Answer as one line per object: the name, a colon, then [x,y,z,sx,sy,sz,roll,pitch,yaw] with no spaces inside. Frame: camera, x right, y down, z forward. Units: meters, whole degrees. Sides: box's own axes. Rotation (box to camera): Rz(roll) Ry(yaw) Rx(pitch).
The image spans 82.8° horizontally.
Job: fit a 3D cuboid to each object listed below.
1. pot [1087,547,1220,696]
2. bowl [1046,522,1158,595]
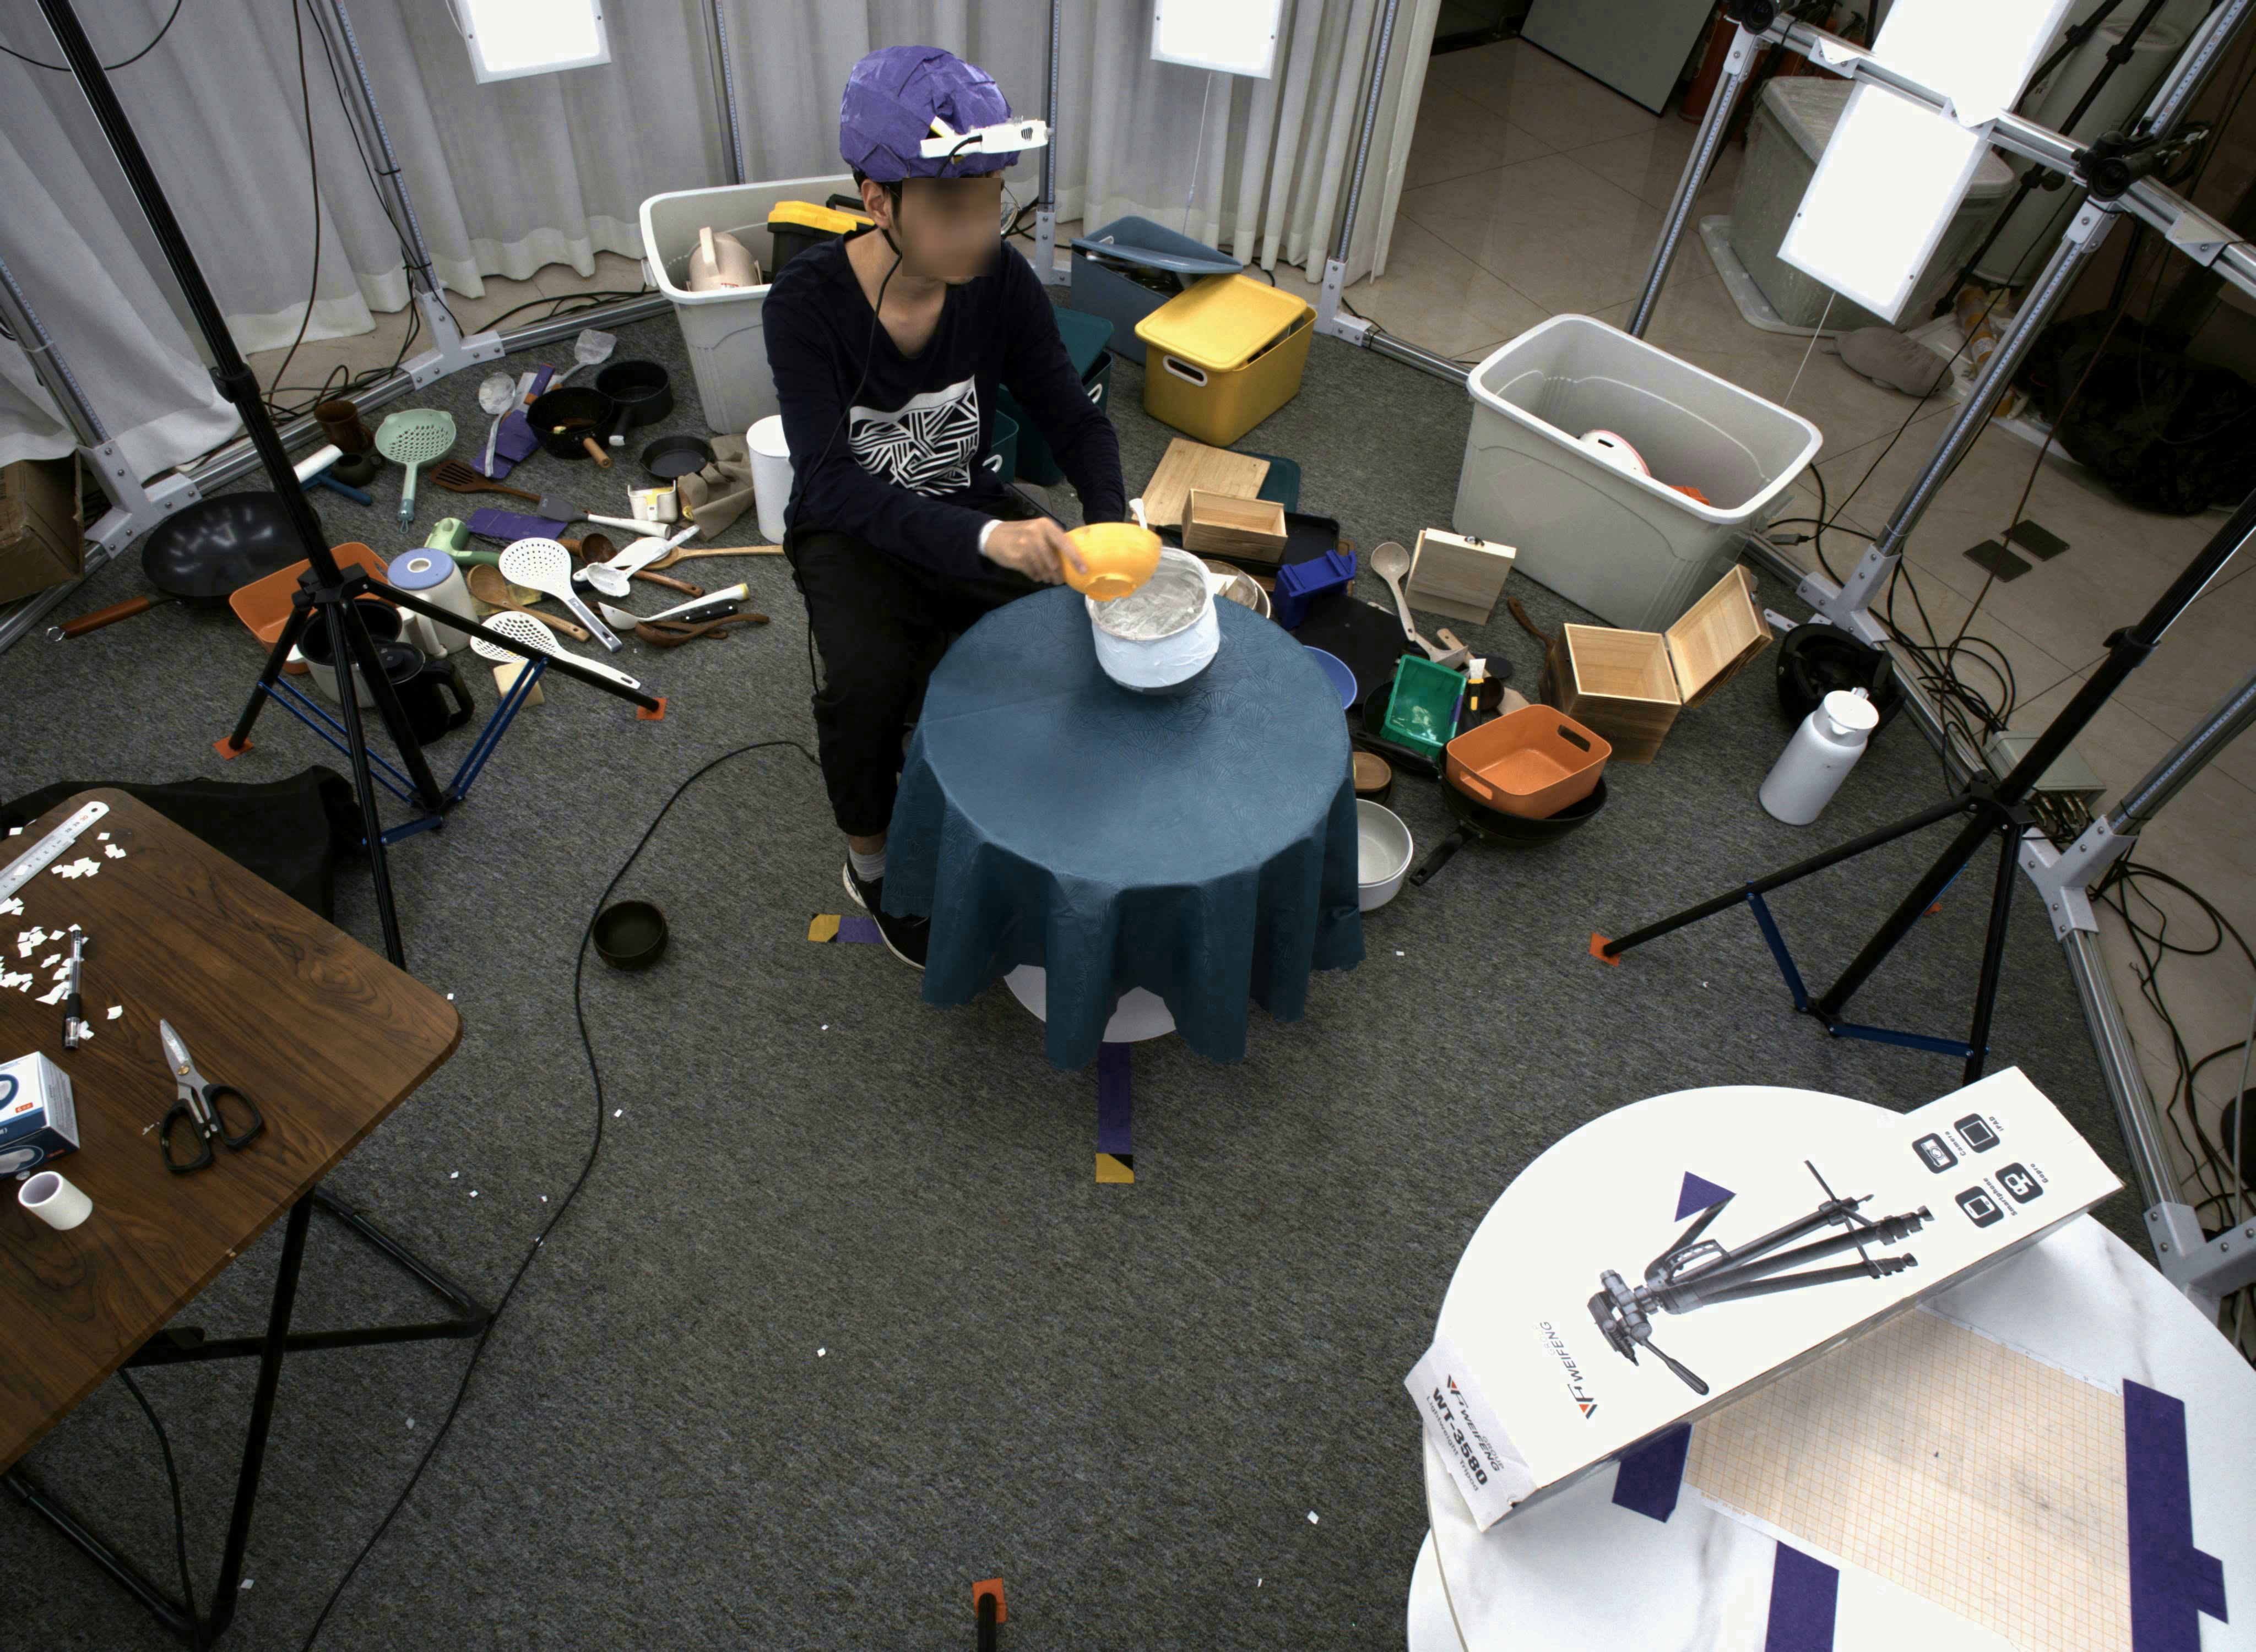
pot: [0.029,-0.303,1.811,0.179,0.133,0.239,-19,53,-7]
bowl: [-0.033,-0.334,1.647,0.145,0.144,0.060,0,80,-4]
